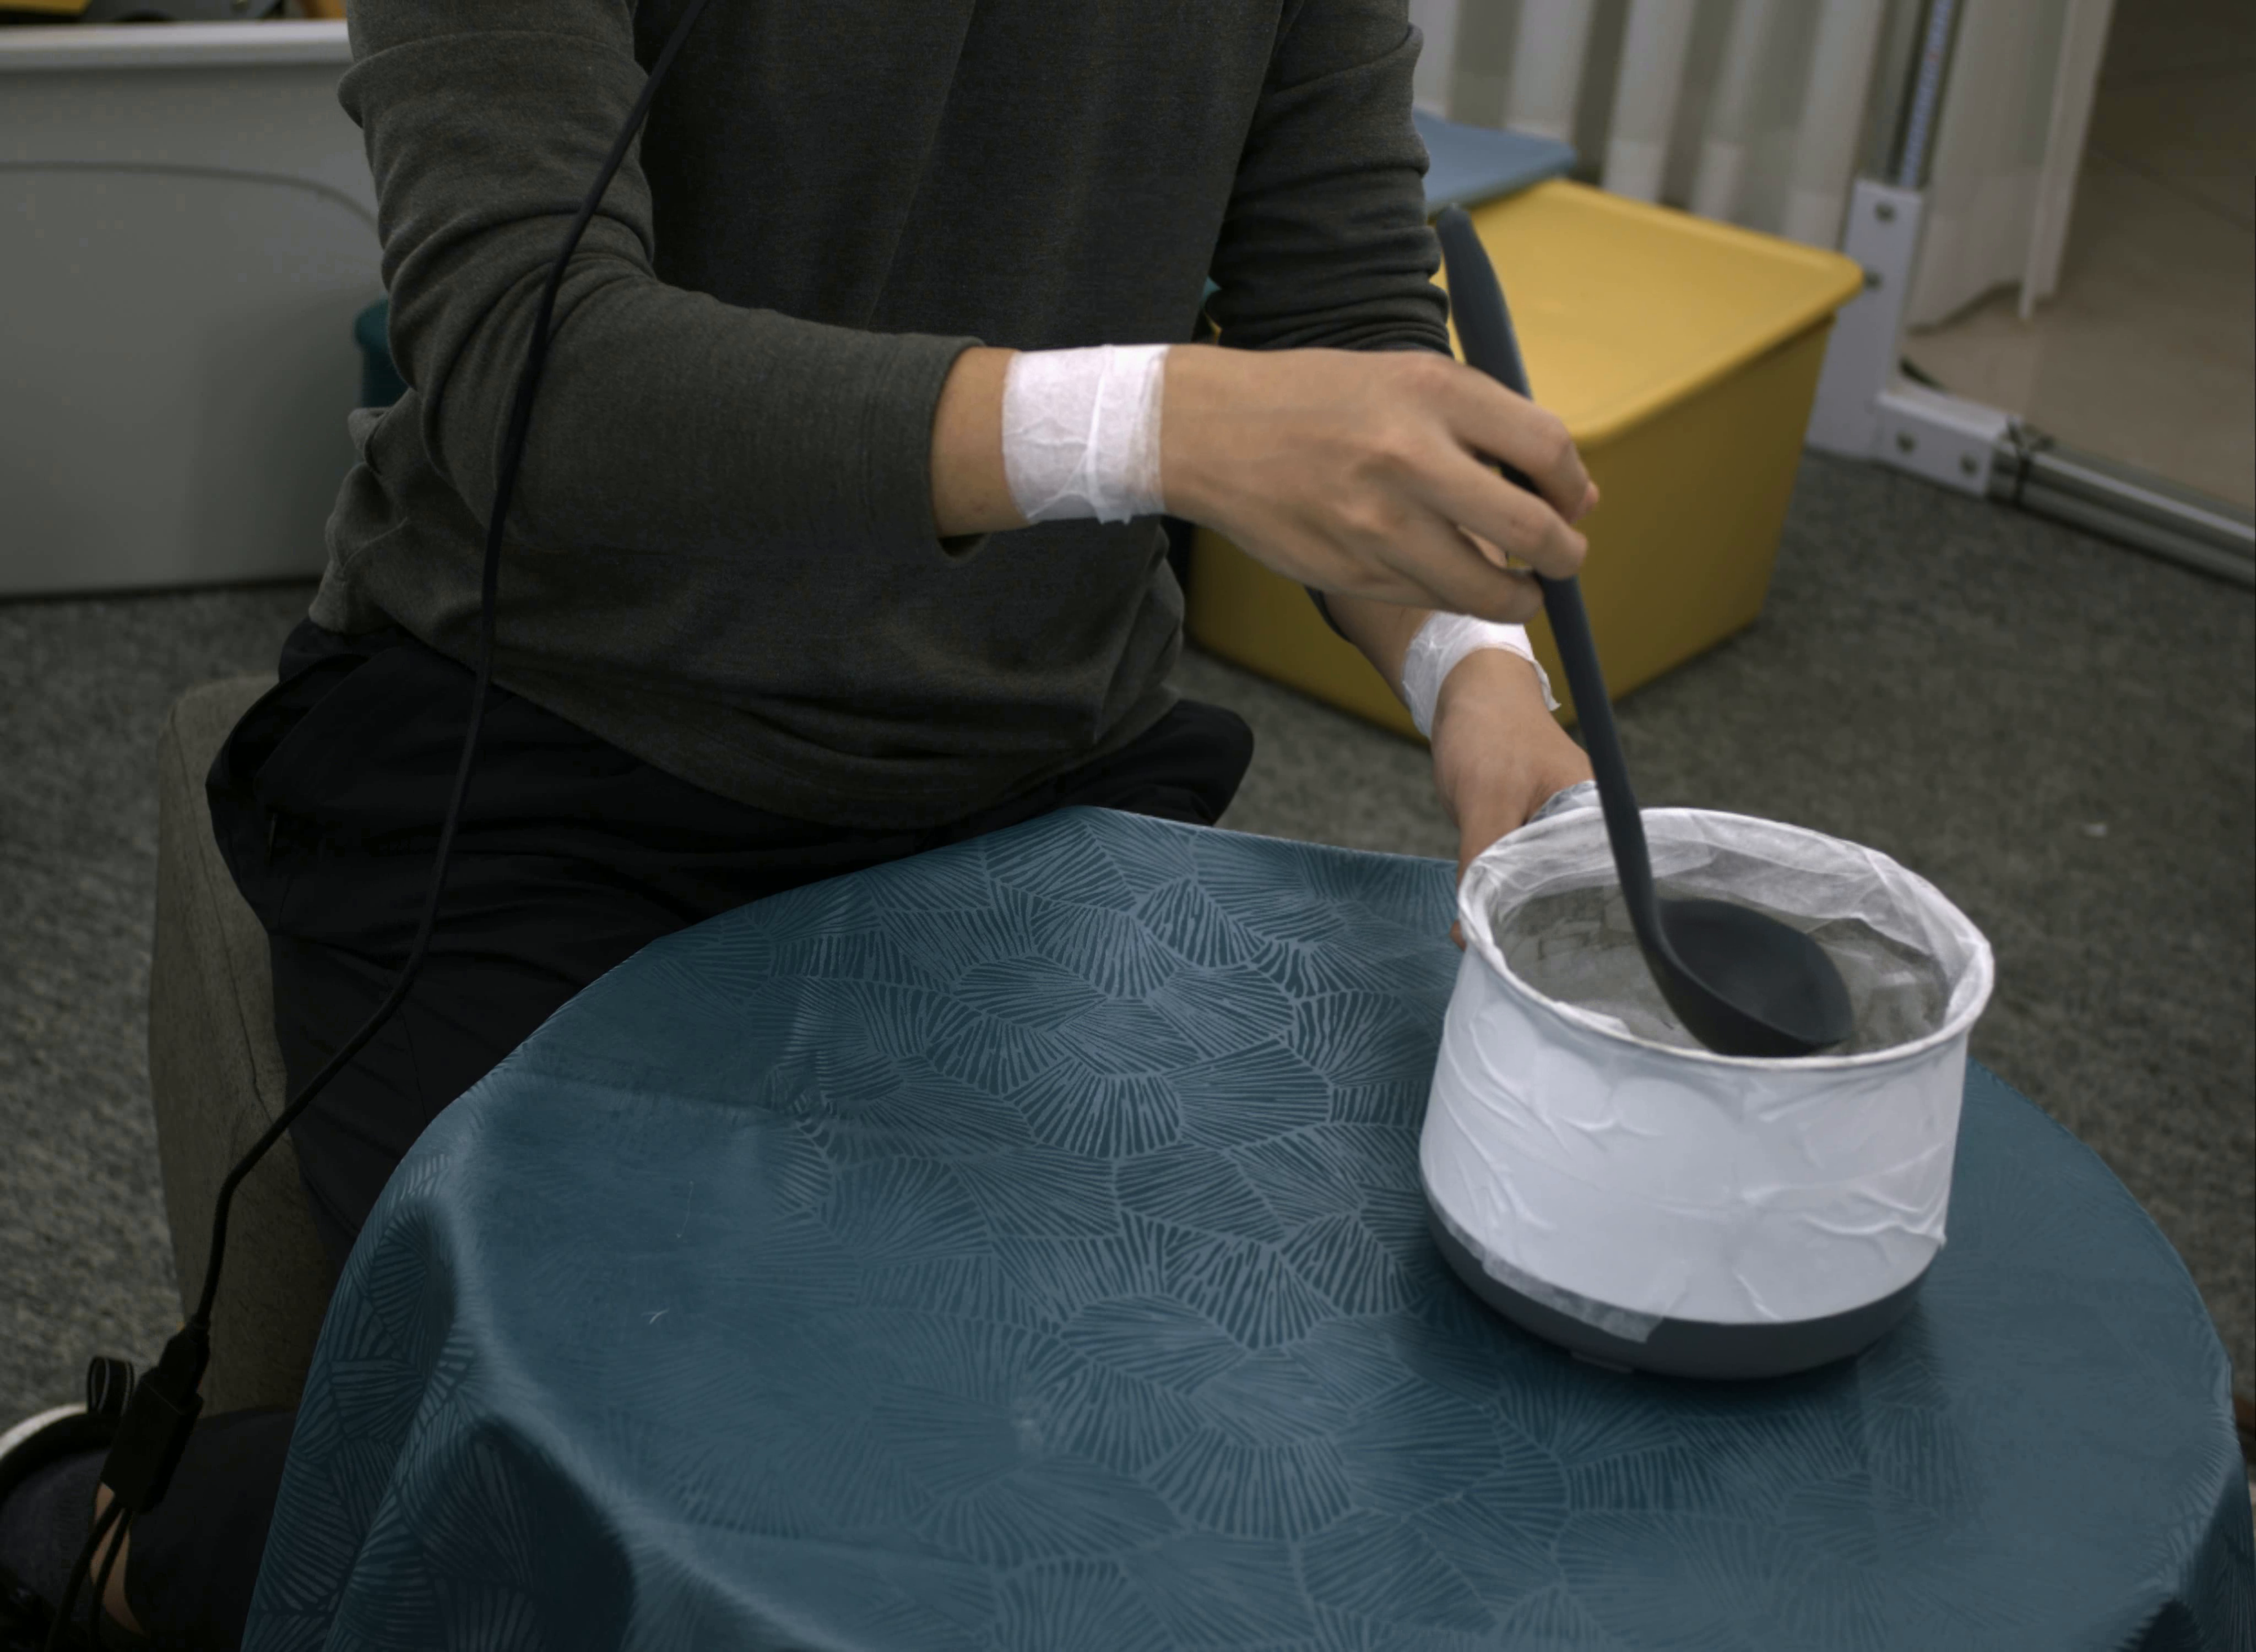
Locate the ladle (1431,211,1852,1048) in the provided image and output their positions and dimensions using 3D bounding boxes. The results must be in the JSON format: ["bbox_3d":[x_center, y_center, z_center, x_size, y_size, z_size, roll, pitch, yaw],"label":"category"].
[{"bbox_3d":[0.166,-0.059,1.711,0.064,0.312,0.086,-17,22,4],"label":"ladle"}]

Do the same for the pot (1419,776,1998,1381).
[{"bbox_3d":[0.178,0.077,1.786,0.177,0.136,0.236,-5,29,-23],"label":"pot"}]
